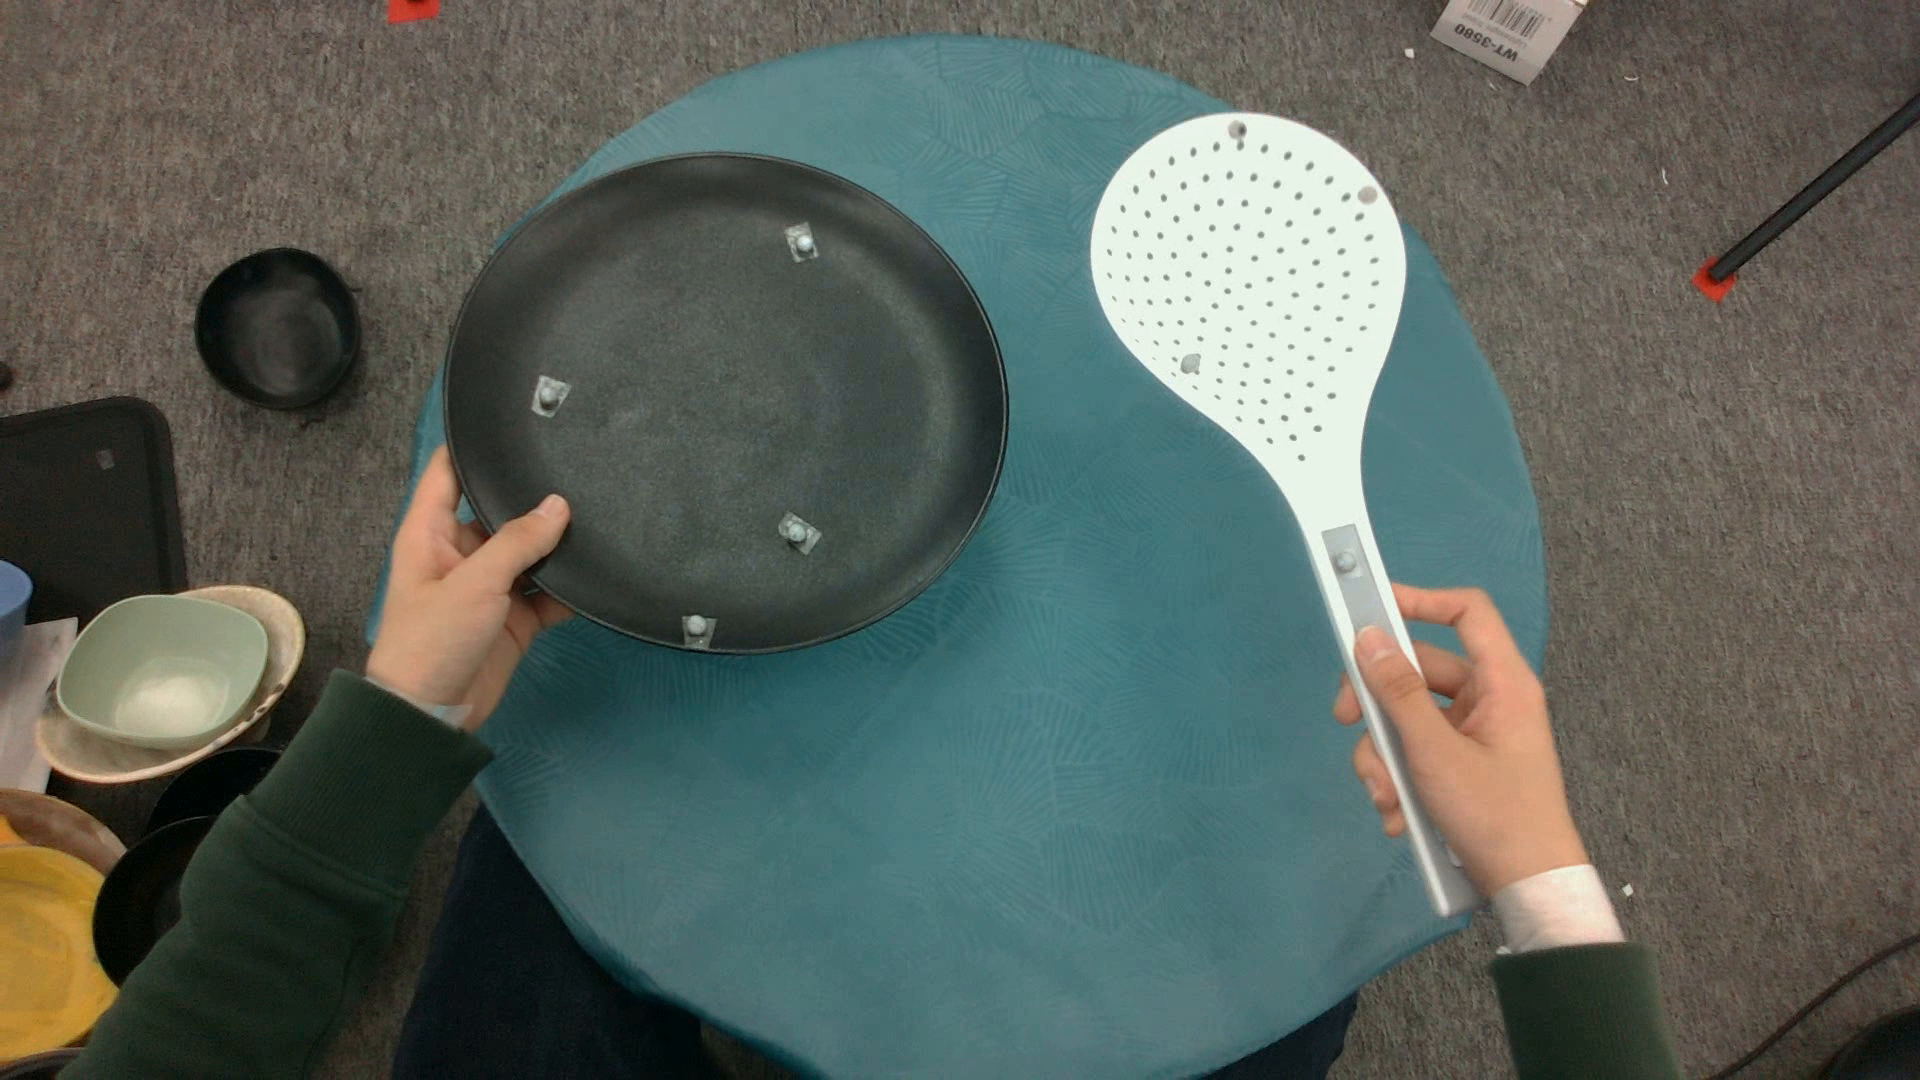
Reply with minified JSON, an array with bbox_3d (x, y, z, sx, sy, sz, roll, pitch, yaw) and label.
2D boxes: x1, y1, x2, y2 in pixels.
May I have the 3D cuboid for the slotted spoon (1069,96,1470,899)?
[{"bbox_3d":[0.144,-0.025,0.579,0.136,0.045,0.350,-15,75,-4],"label":"slotted spoon"}]

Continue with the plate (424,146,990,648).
[{"bbox_3d":[-0.108,-0.067,0.612,0.244,0.023,0.245,4,69,-10],"label":"plate"}]
